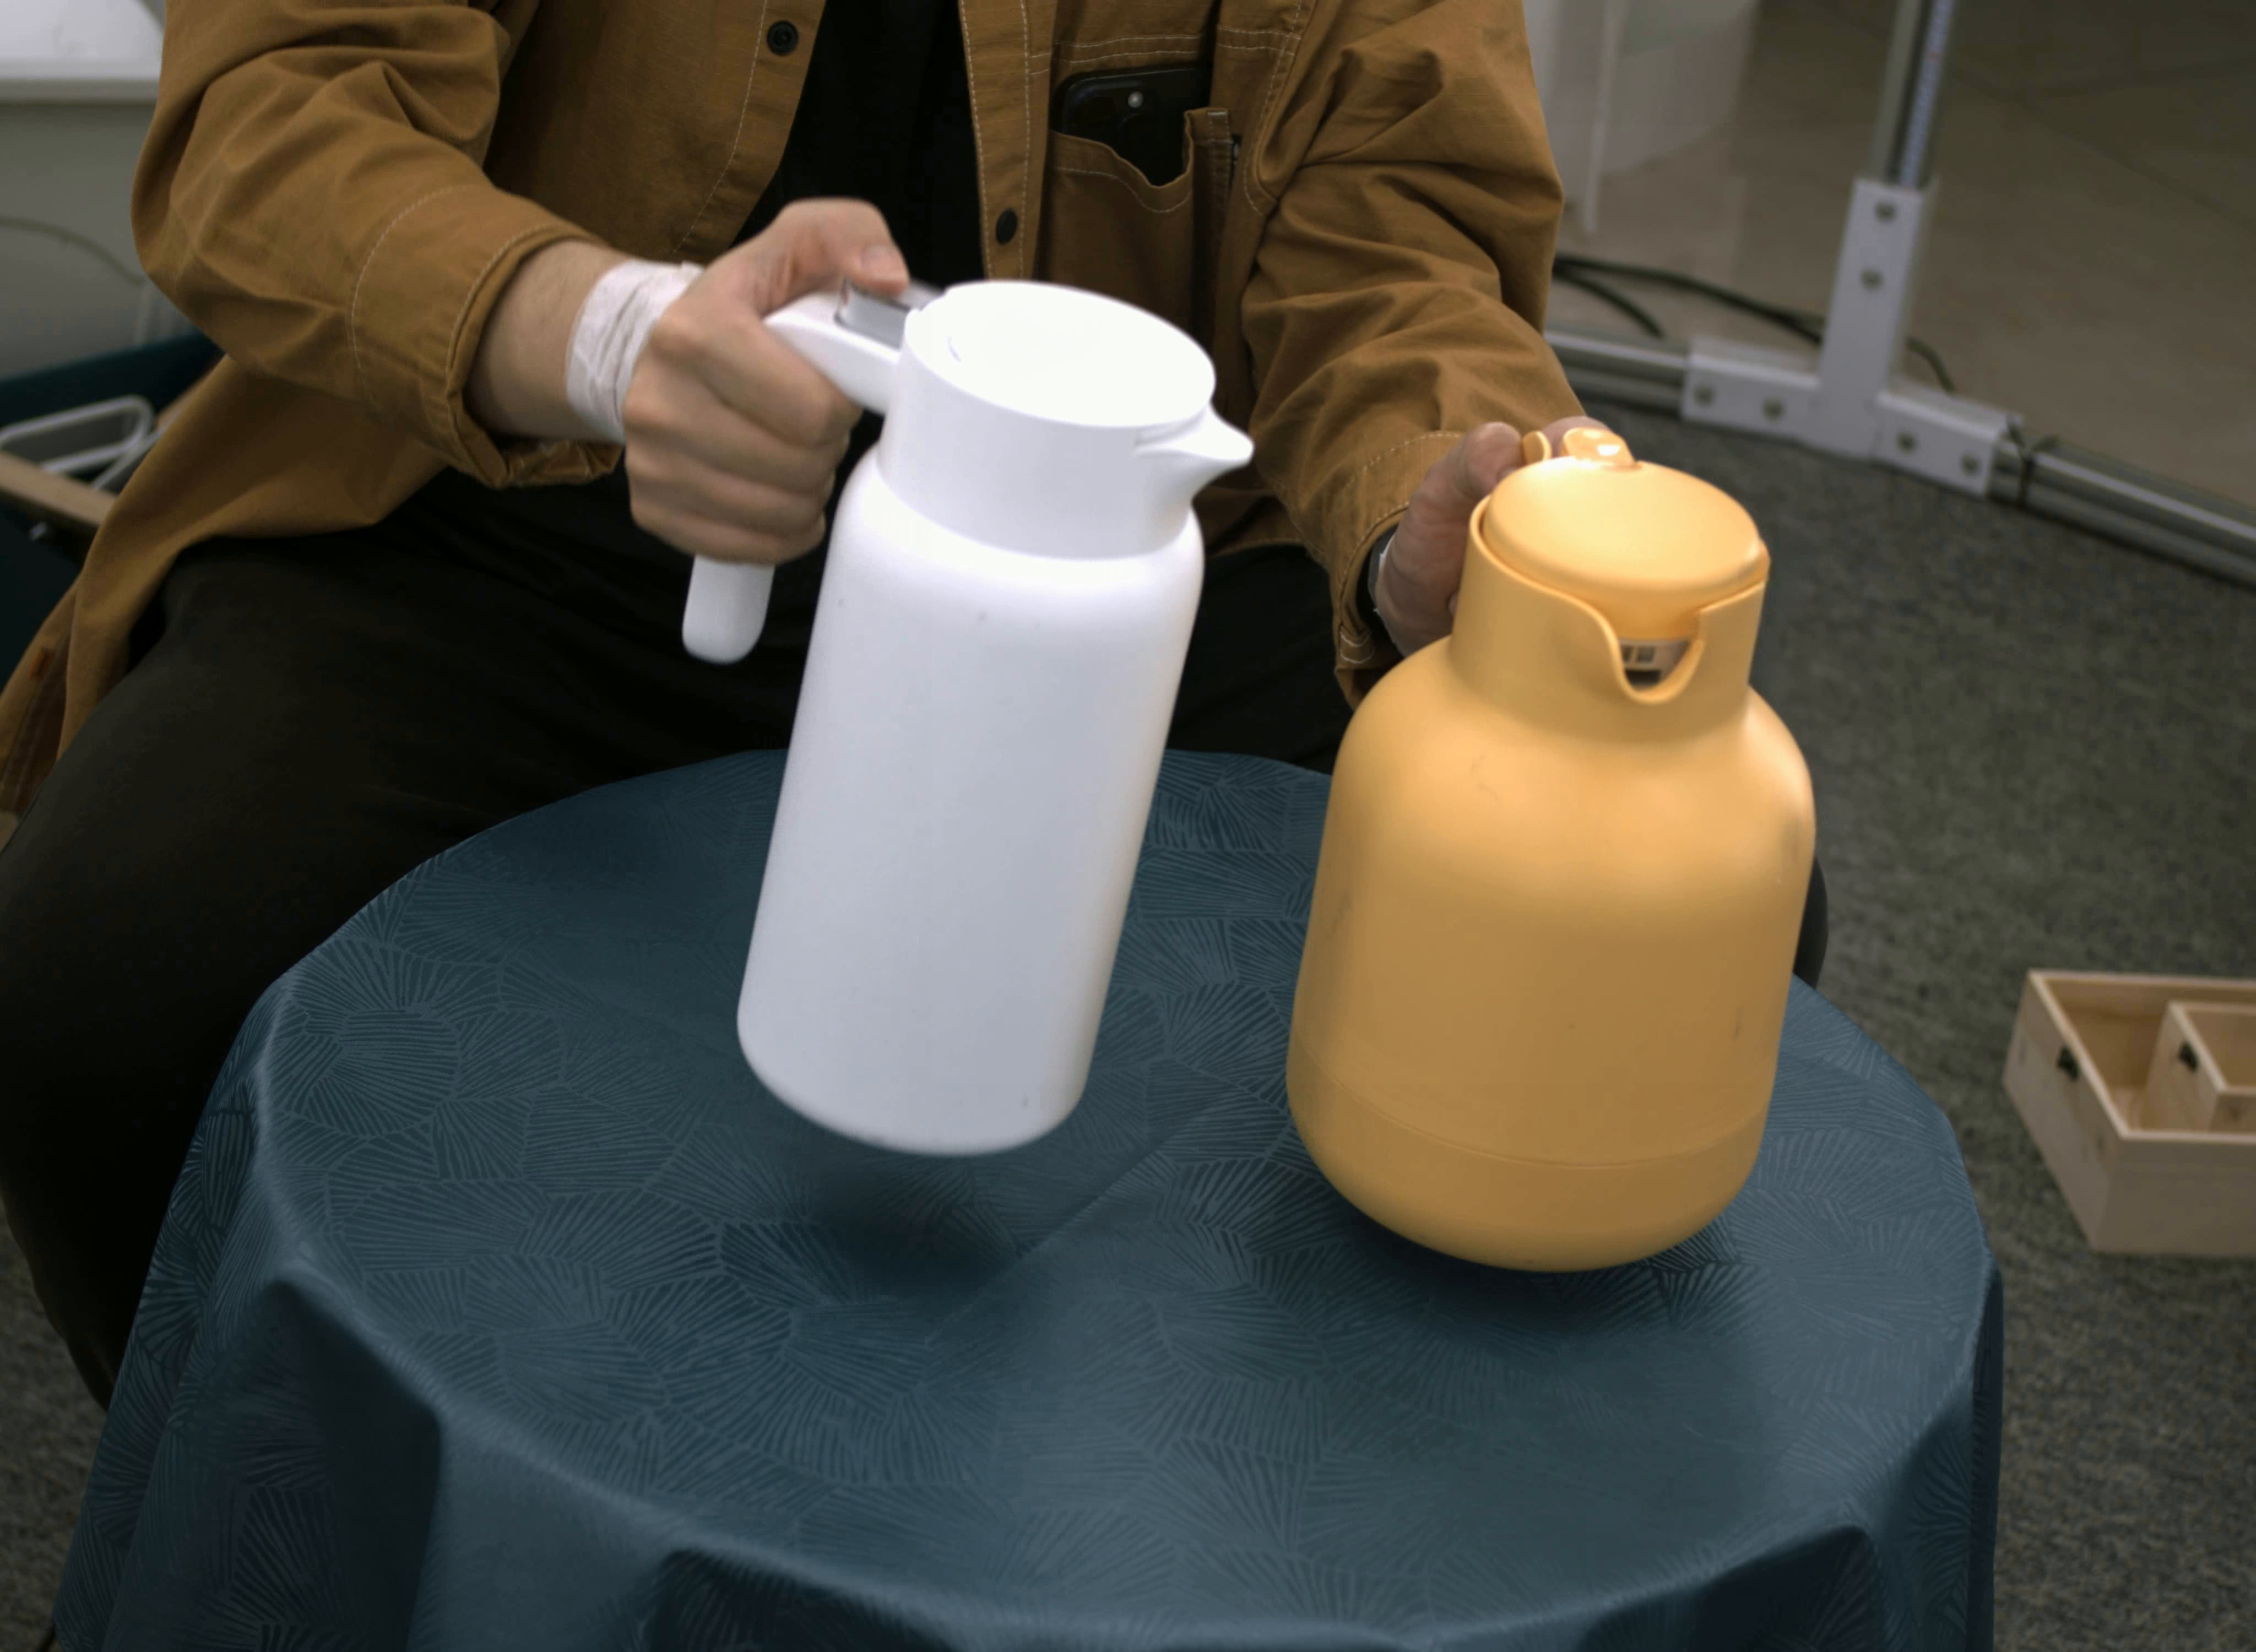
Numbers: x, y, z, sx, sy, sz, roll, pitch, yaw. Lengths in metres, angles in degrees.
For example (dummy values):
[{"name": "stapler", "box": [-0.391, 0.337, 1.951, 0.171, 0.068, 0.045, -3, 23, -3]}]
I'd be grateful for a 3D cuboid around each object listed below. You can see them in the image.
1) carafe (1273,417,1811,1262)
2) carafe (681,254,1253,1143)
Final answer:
[{"name": "carafe", "box": [0.143, -0.005, 1.768, 0.163, 0.259, 0.204, 7, 30, -6]}, {"name": "carafe", "box": [-0.063, -0.044, 1.695, 0.173, 0.268, 0.124, 22, 31, 17]}]
